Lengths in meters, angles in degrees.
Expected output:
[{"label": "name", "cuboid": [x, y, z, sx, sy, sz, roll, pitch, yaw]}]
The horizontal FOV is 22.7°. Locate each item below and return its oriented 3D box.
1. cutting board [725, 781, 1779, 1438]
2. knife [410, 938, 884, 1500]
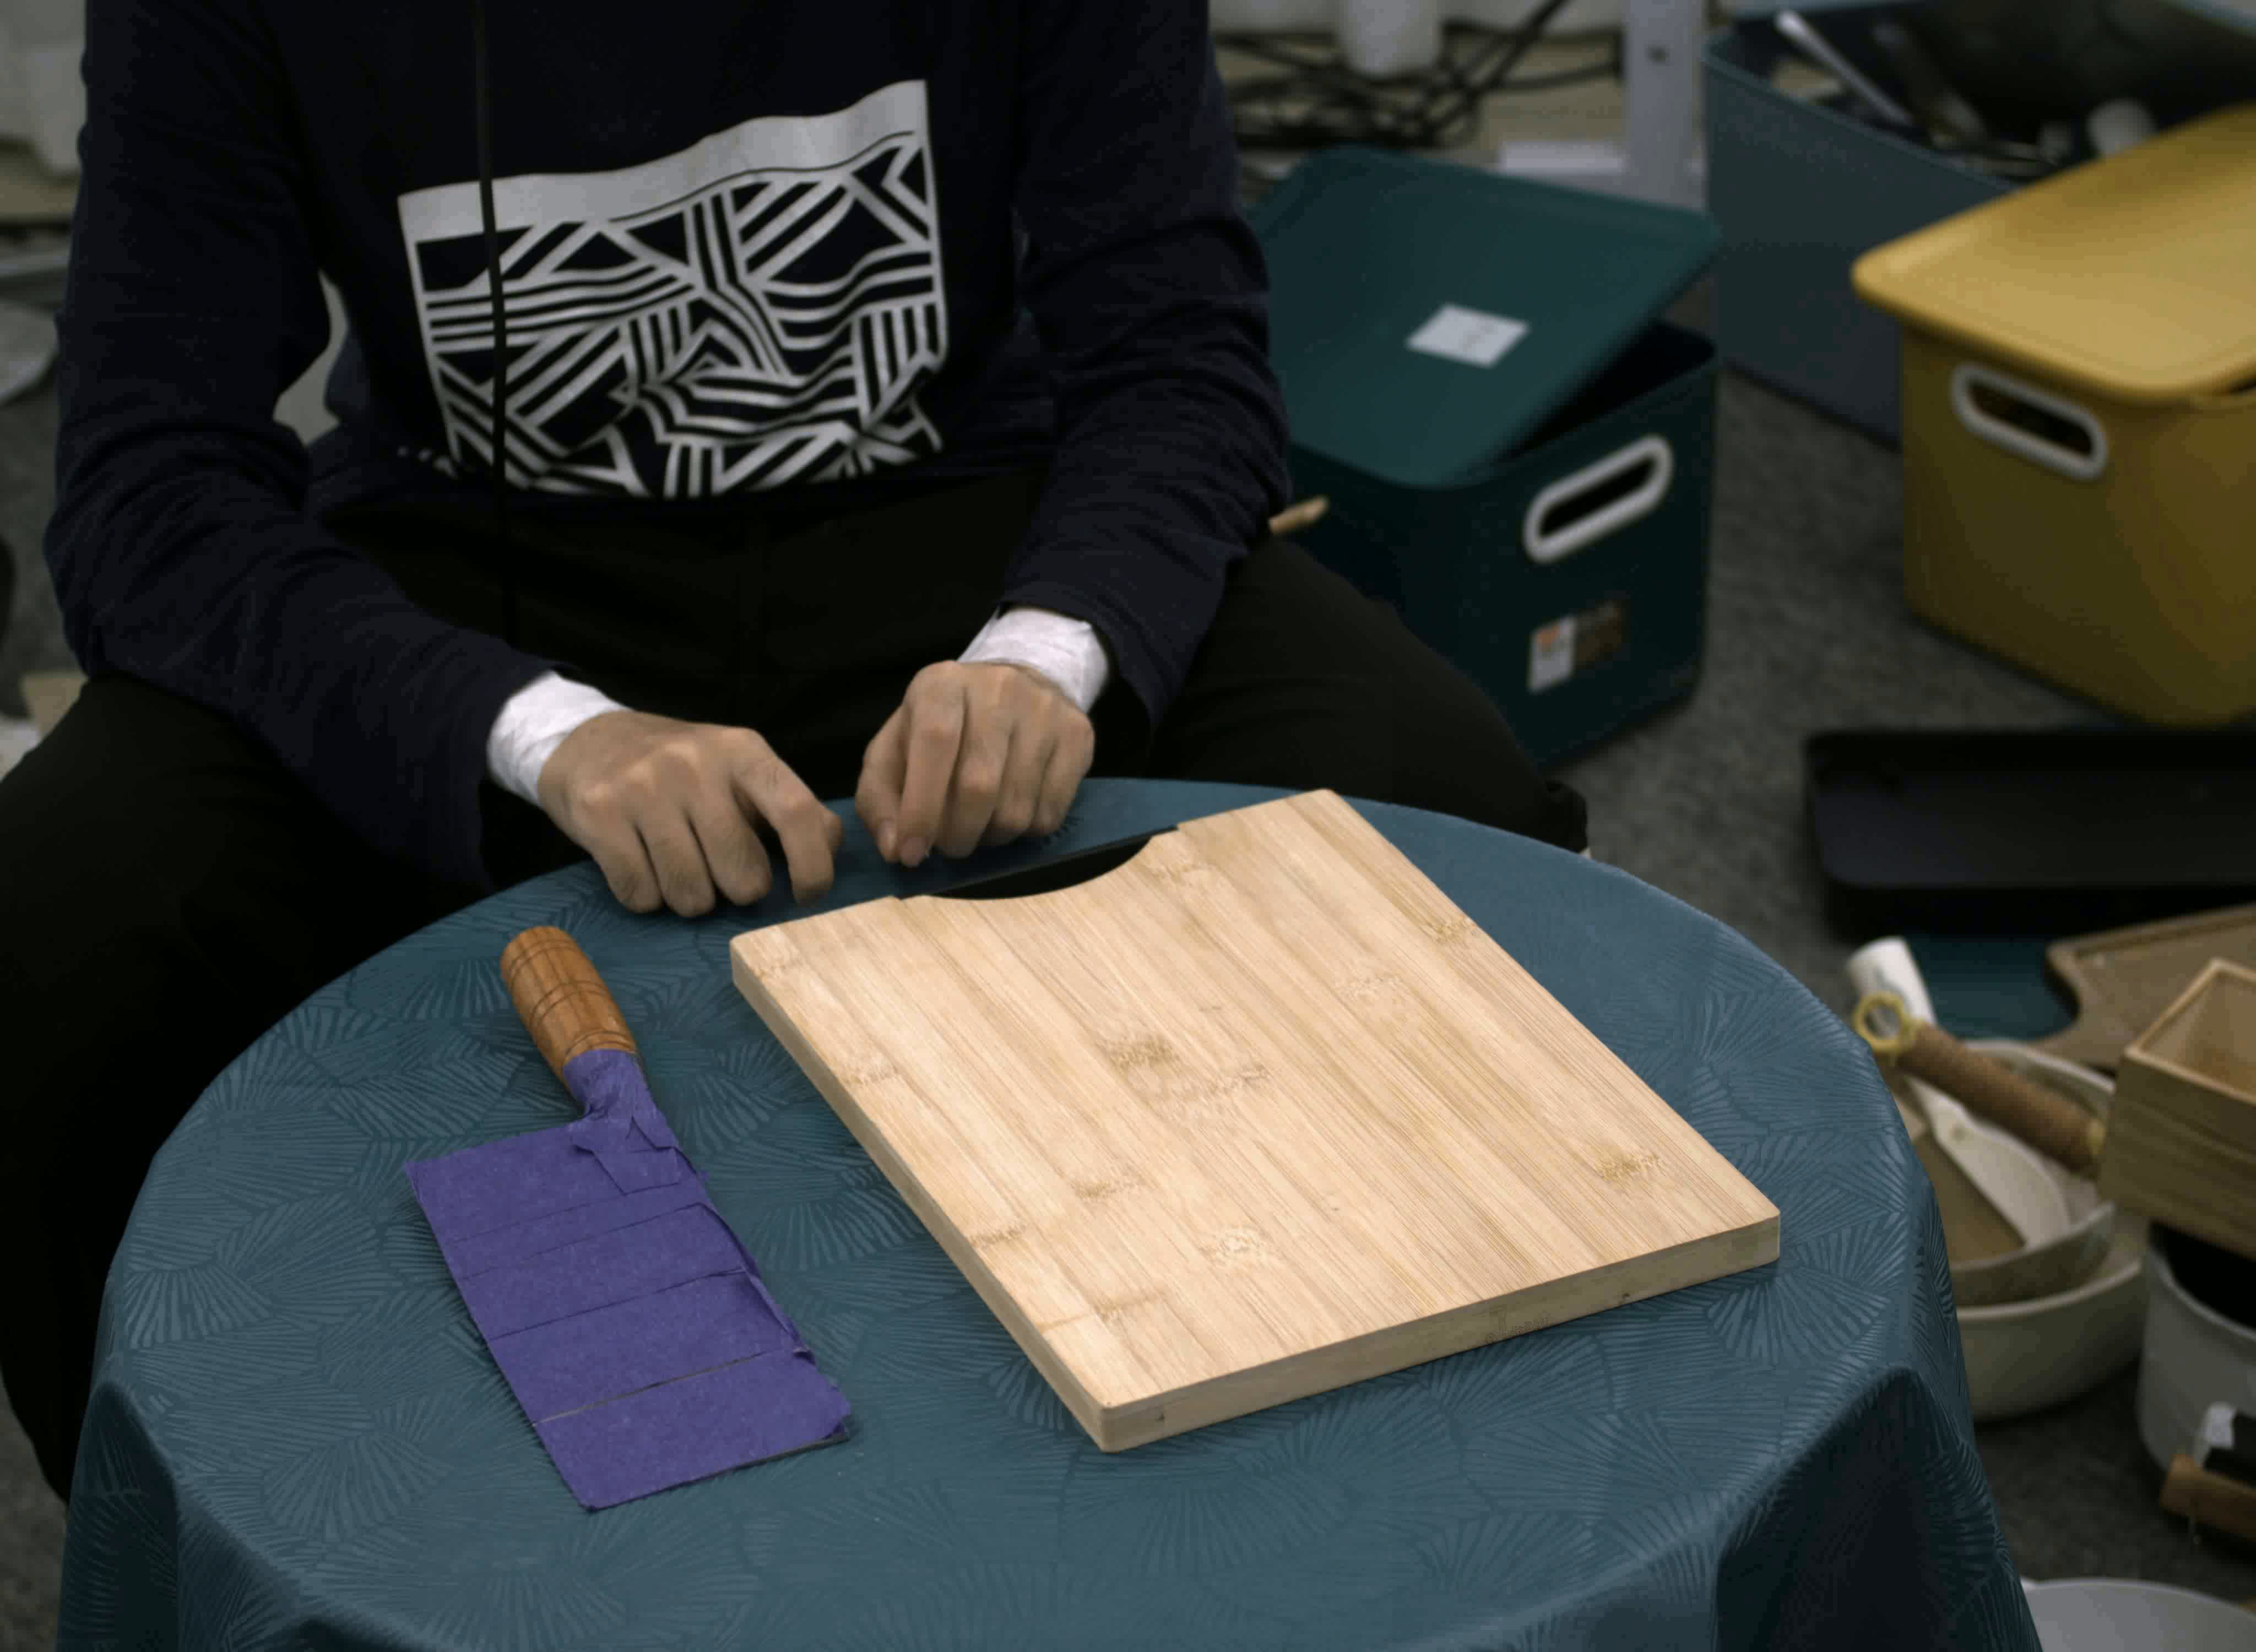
[{"label": "cutting board", "cuboid": [0.032, 0.088, 1.905, 0.251, 0.023, 0.351, -14, 29, -20]}, {"label": "knife", "cuboid": [-0.181, 0.124, 1.844, 0.104, 0.032, 0.317, -13, 29, -19]}]
